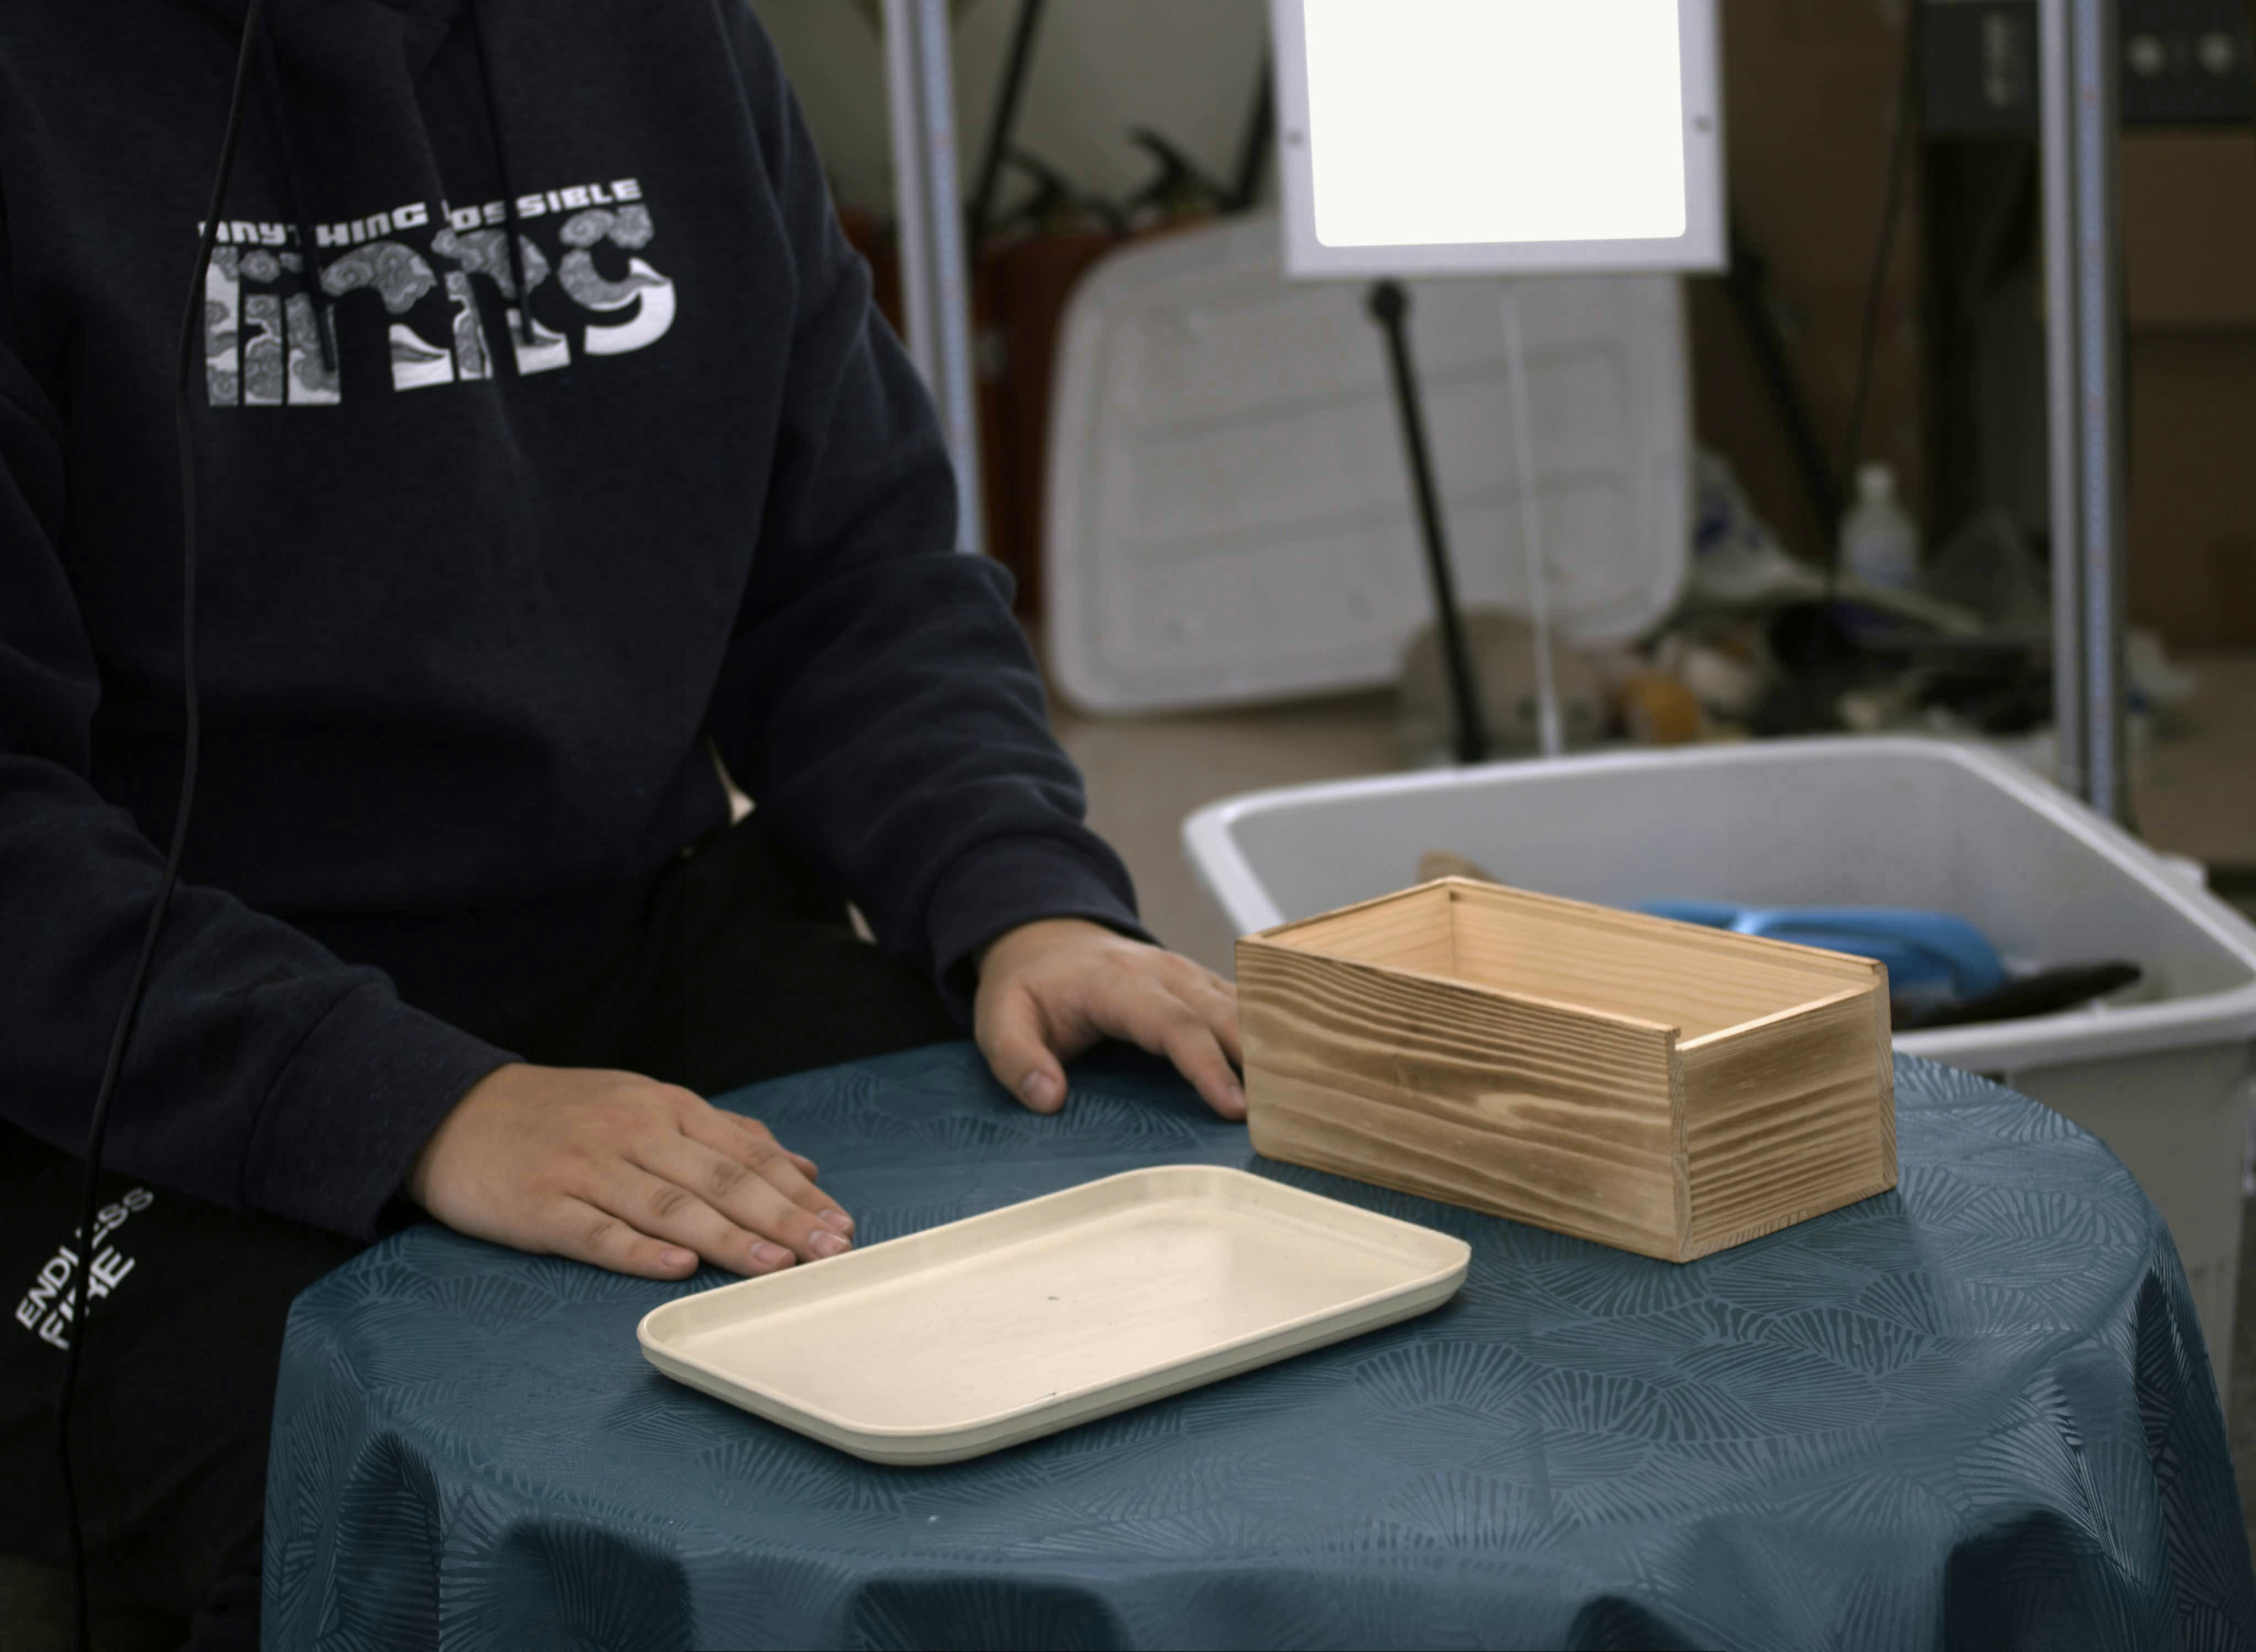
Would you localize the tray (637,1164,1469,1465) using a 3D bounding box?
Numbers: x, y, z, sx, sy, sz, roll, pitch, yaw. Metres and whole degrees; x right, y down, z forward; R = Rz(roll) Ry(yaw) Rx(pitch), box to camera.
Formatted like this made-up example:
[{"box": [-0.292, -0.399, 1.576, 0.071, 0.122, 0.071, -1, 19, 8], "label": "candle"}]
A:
[{"box": [-0.022, 0.154, 1.754, 0.234, 0.017, 0.175, -14, 16, -33], "label": "tray"}]

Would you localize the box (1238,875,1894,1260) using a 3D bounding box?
[{"box": [0.148, 0.079, 1.873, 0.105, 0.080, 0.216, -15, 16, -37], "label": "box"}]
